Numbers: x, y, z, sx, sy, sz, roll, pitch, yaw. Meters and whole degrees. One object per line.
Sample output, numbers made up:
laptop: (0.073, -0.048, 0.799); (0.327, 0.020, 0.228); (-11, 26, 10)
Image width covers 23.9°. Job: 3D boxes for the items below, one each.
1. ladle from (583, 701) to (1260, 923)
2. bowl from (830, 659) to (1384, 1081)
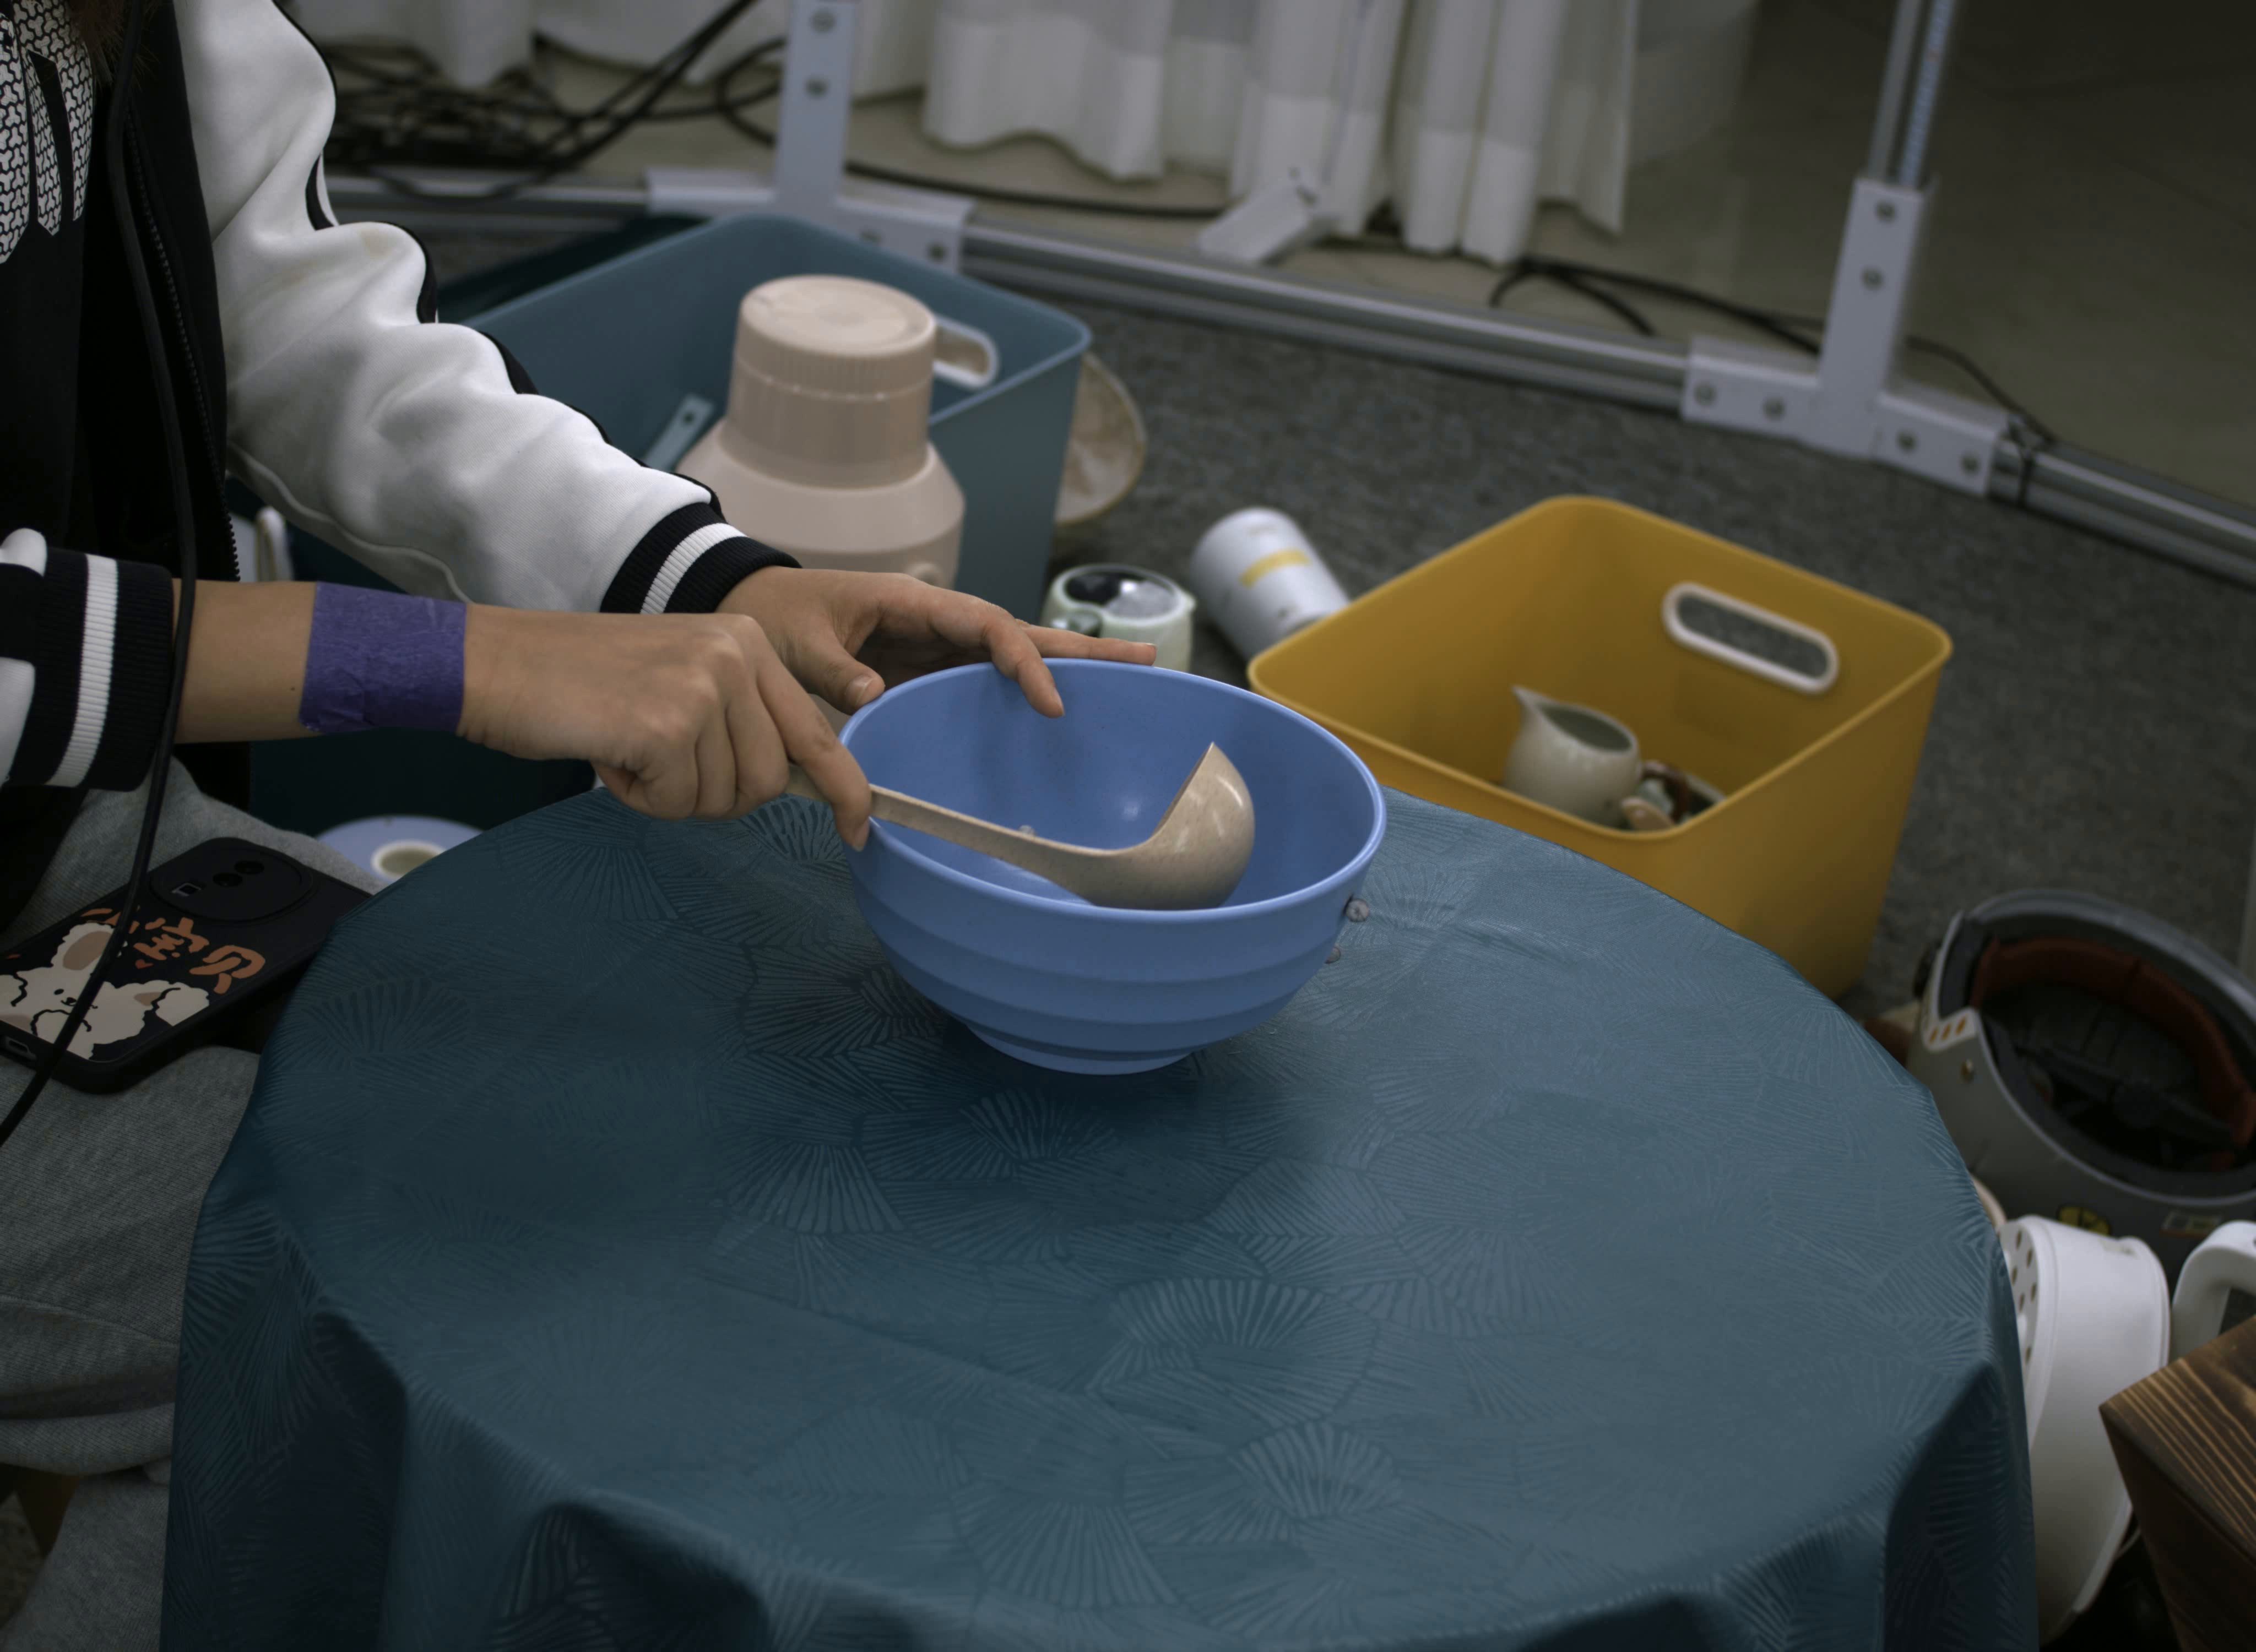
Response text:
ladle: (-0.072, -0.027, 1.834); (0.252, 0.072, 0.073); (18, 45, -23)
bowl: (-0.011, 0.027, 1.891); (0.196, 0.095, 0.198); (4, 28, -3)
